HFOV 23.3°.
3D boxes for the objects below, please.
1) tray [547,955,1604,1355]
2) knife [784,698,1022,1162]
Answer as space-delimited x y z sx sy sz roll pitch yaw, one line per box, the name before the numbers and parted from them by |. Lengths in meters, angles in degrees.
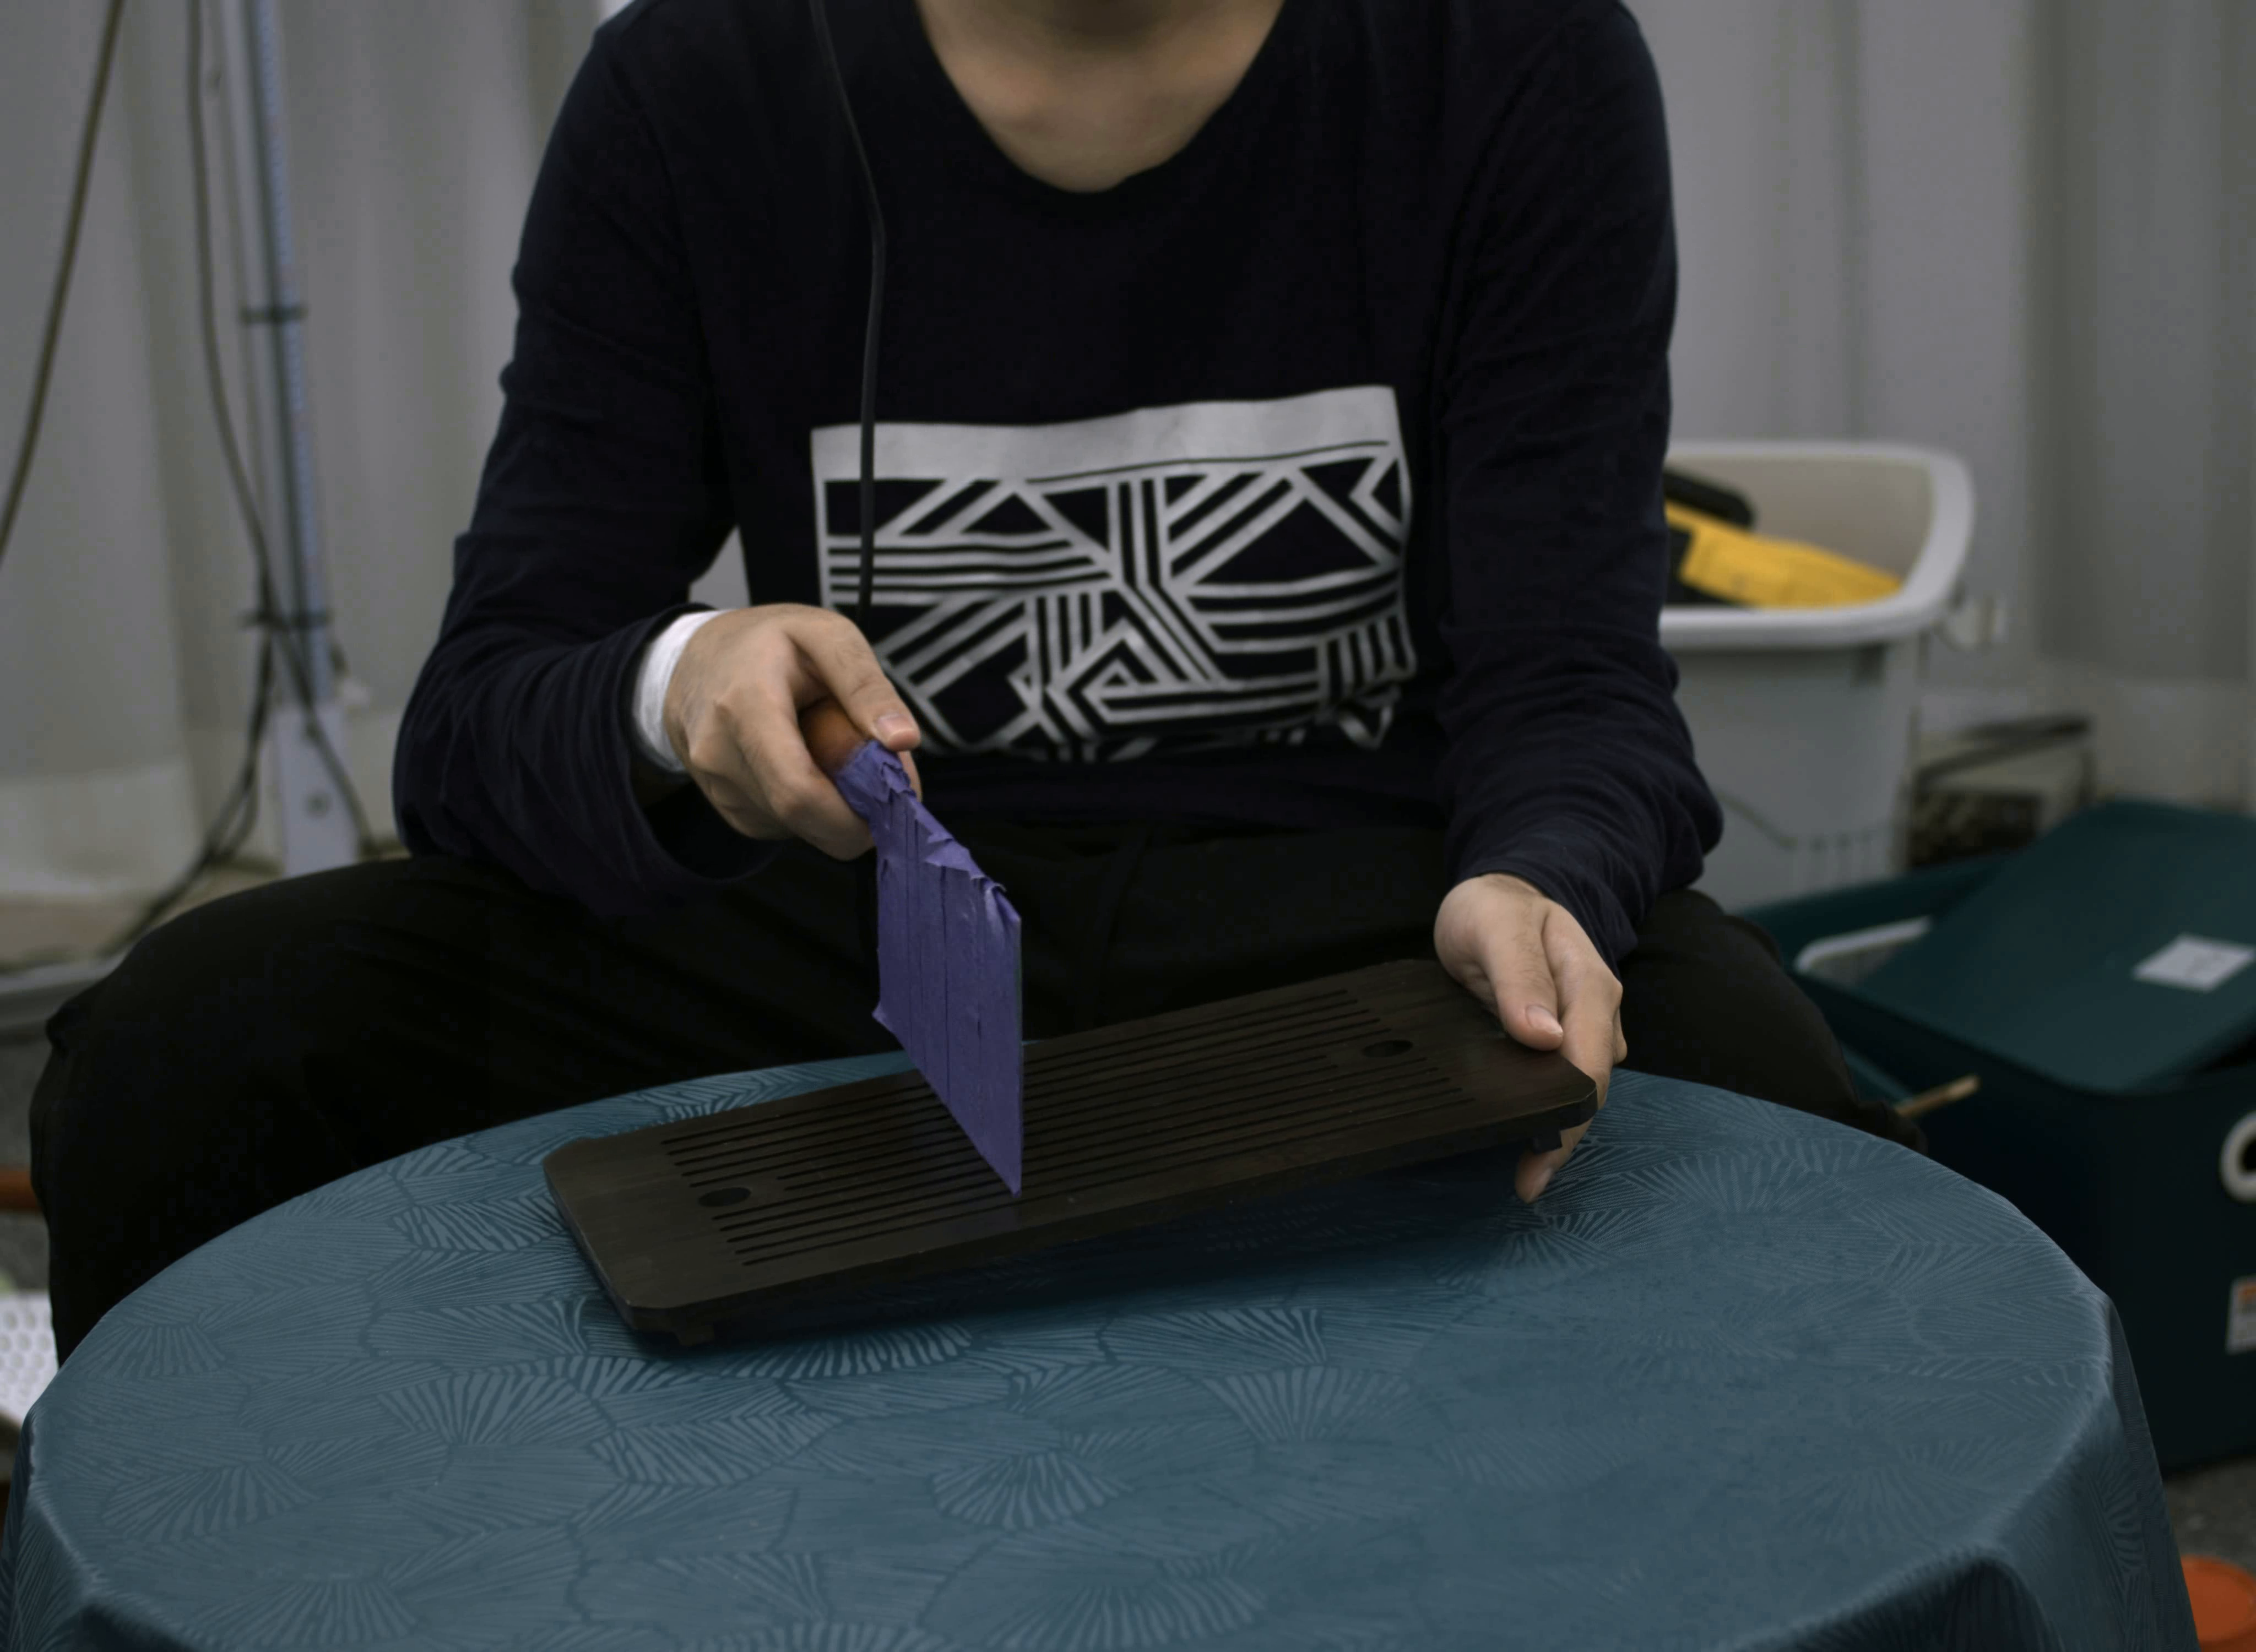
tray | -0.019 0.100 1.690 0.305 0.018 0.171 -12 16 -13
knife | -0.073 0.031 1.756 0.032 0.103 0.317 -1 12 -12
